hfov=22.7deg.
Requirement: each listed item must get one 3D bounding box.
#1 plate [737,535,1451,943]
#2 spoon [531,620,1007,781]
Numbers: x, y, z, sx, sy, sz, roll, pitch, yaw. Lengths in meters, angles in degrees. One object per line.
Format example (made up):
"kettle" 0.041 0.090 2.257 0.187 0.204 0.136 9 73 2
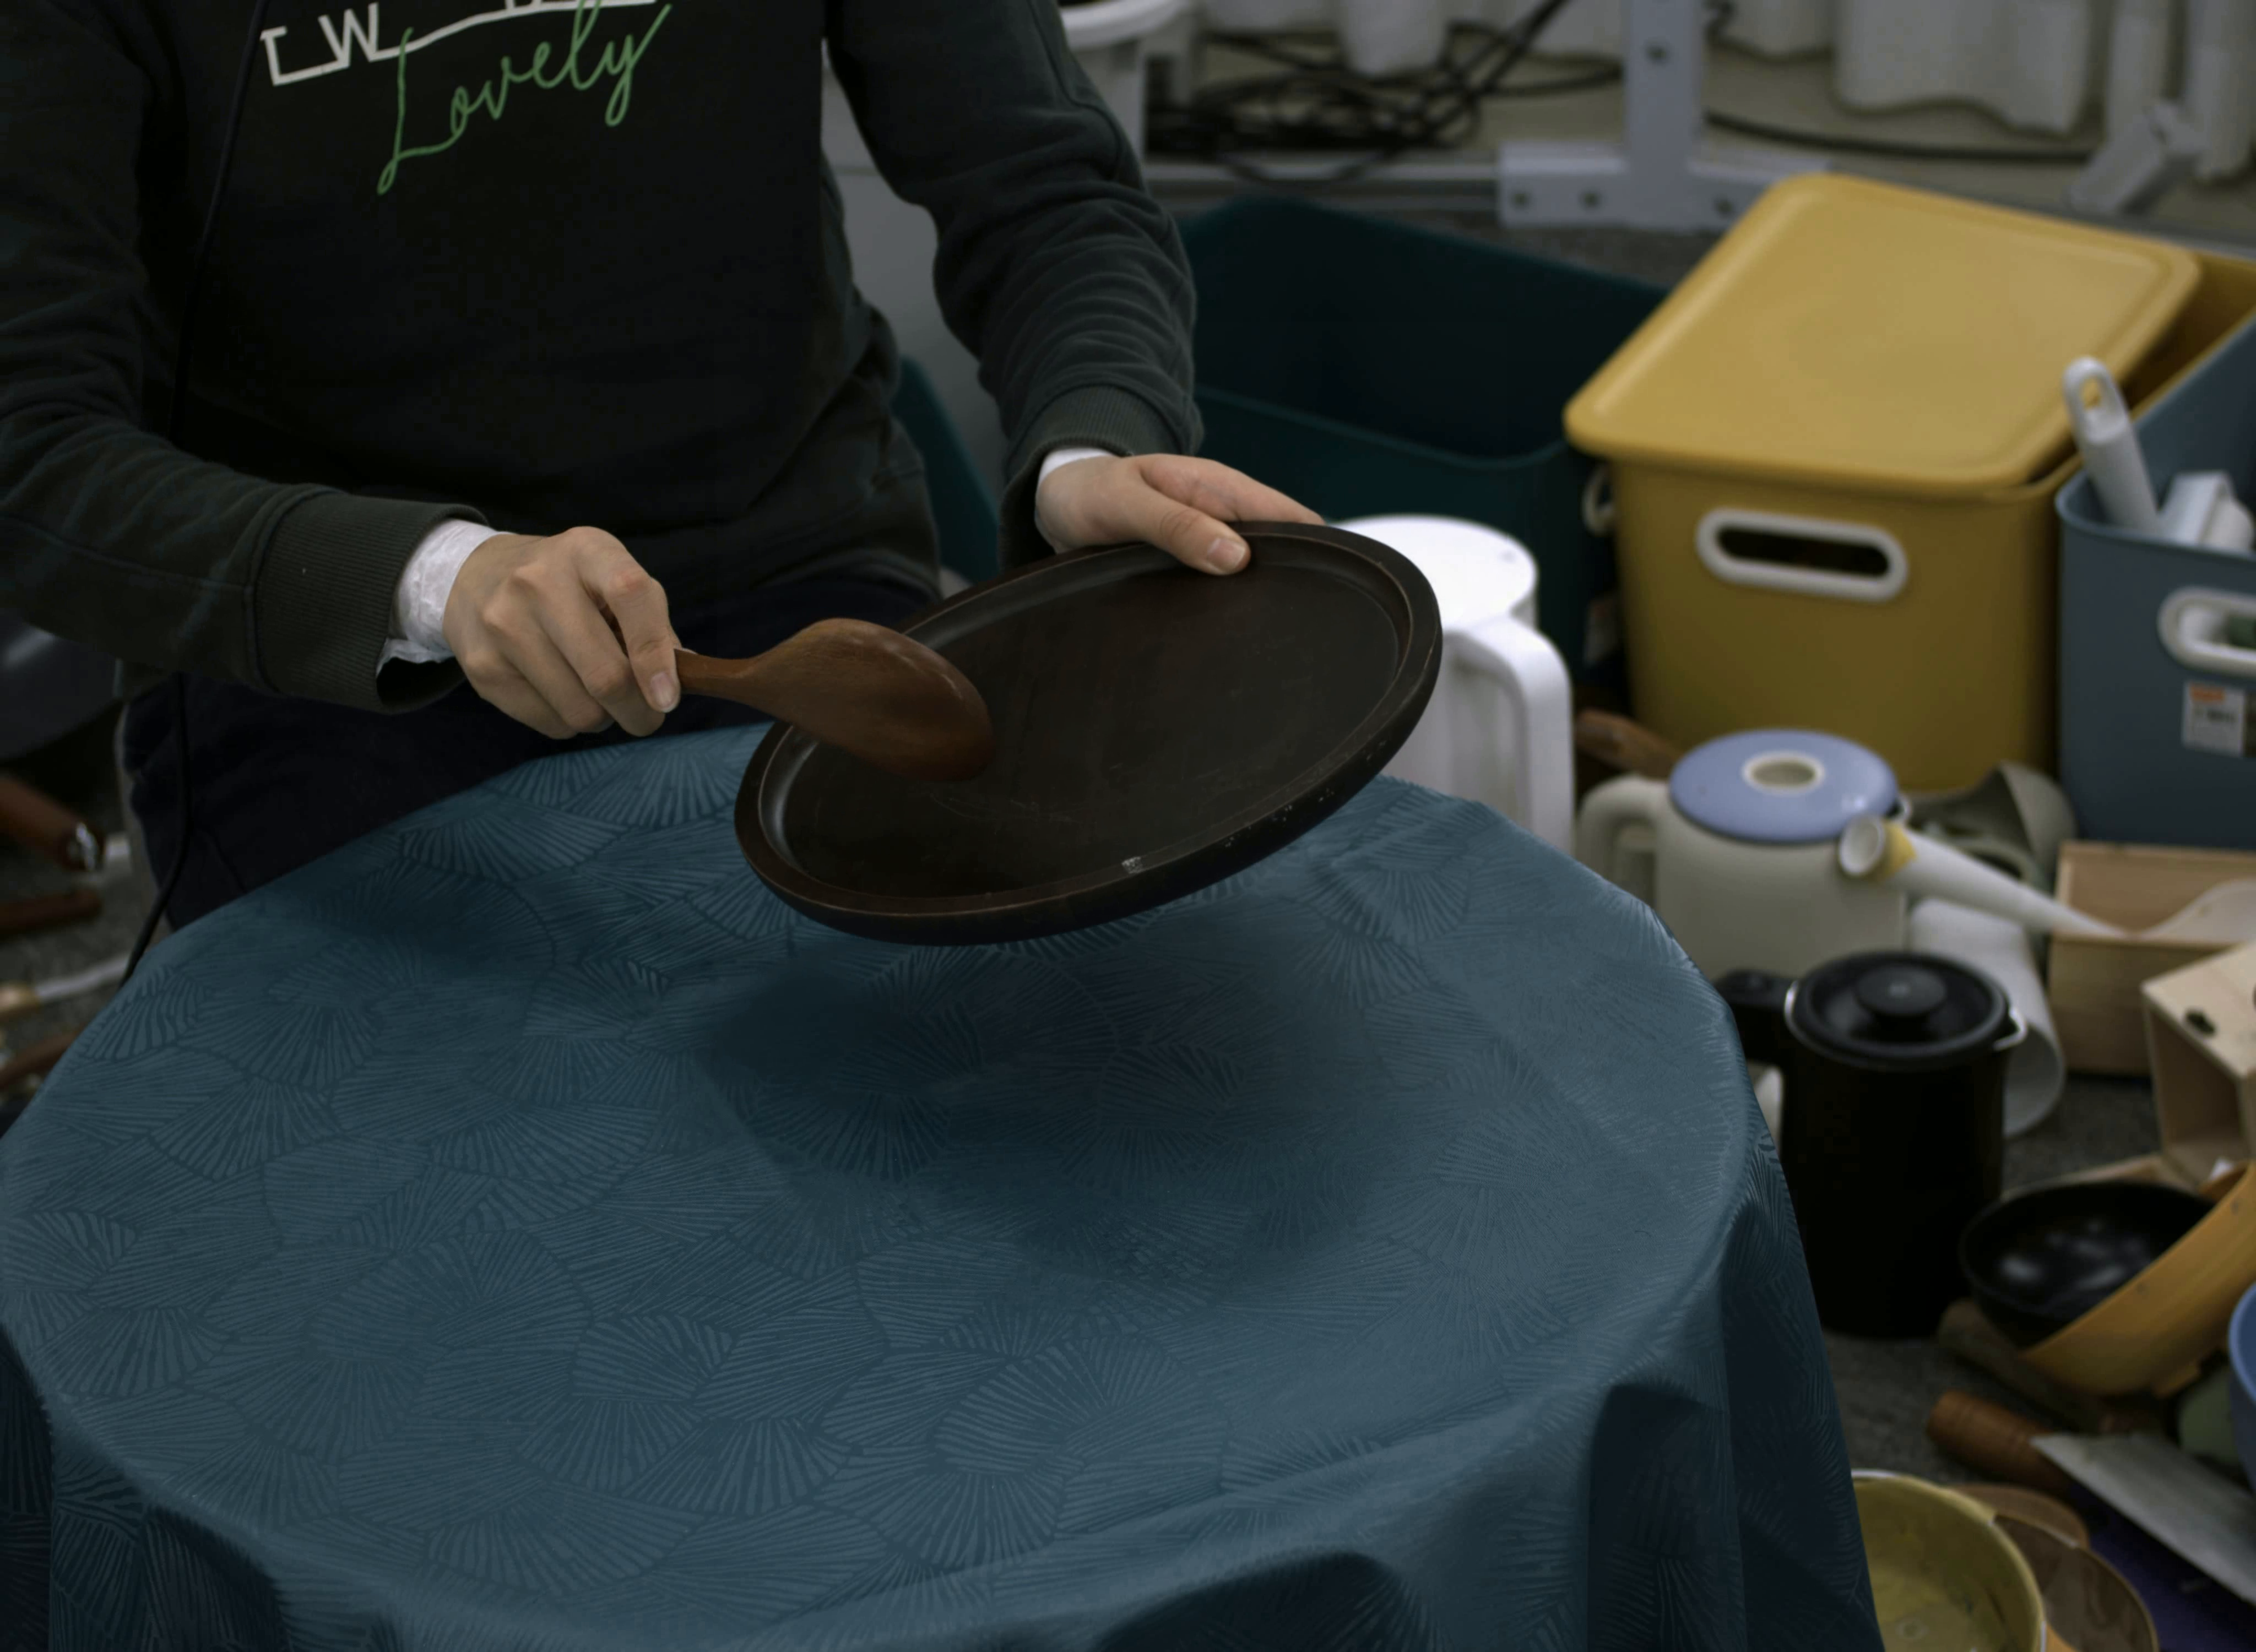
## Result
"plate" -0.011 -0.032 1.917 0.253 0.029 0.259 -13 28 7
"spoon" -0.126 -0.047 1.900 0.214 0.075 0.017 10 54 42
